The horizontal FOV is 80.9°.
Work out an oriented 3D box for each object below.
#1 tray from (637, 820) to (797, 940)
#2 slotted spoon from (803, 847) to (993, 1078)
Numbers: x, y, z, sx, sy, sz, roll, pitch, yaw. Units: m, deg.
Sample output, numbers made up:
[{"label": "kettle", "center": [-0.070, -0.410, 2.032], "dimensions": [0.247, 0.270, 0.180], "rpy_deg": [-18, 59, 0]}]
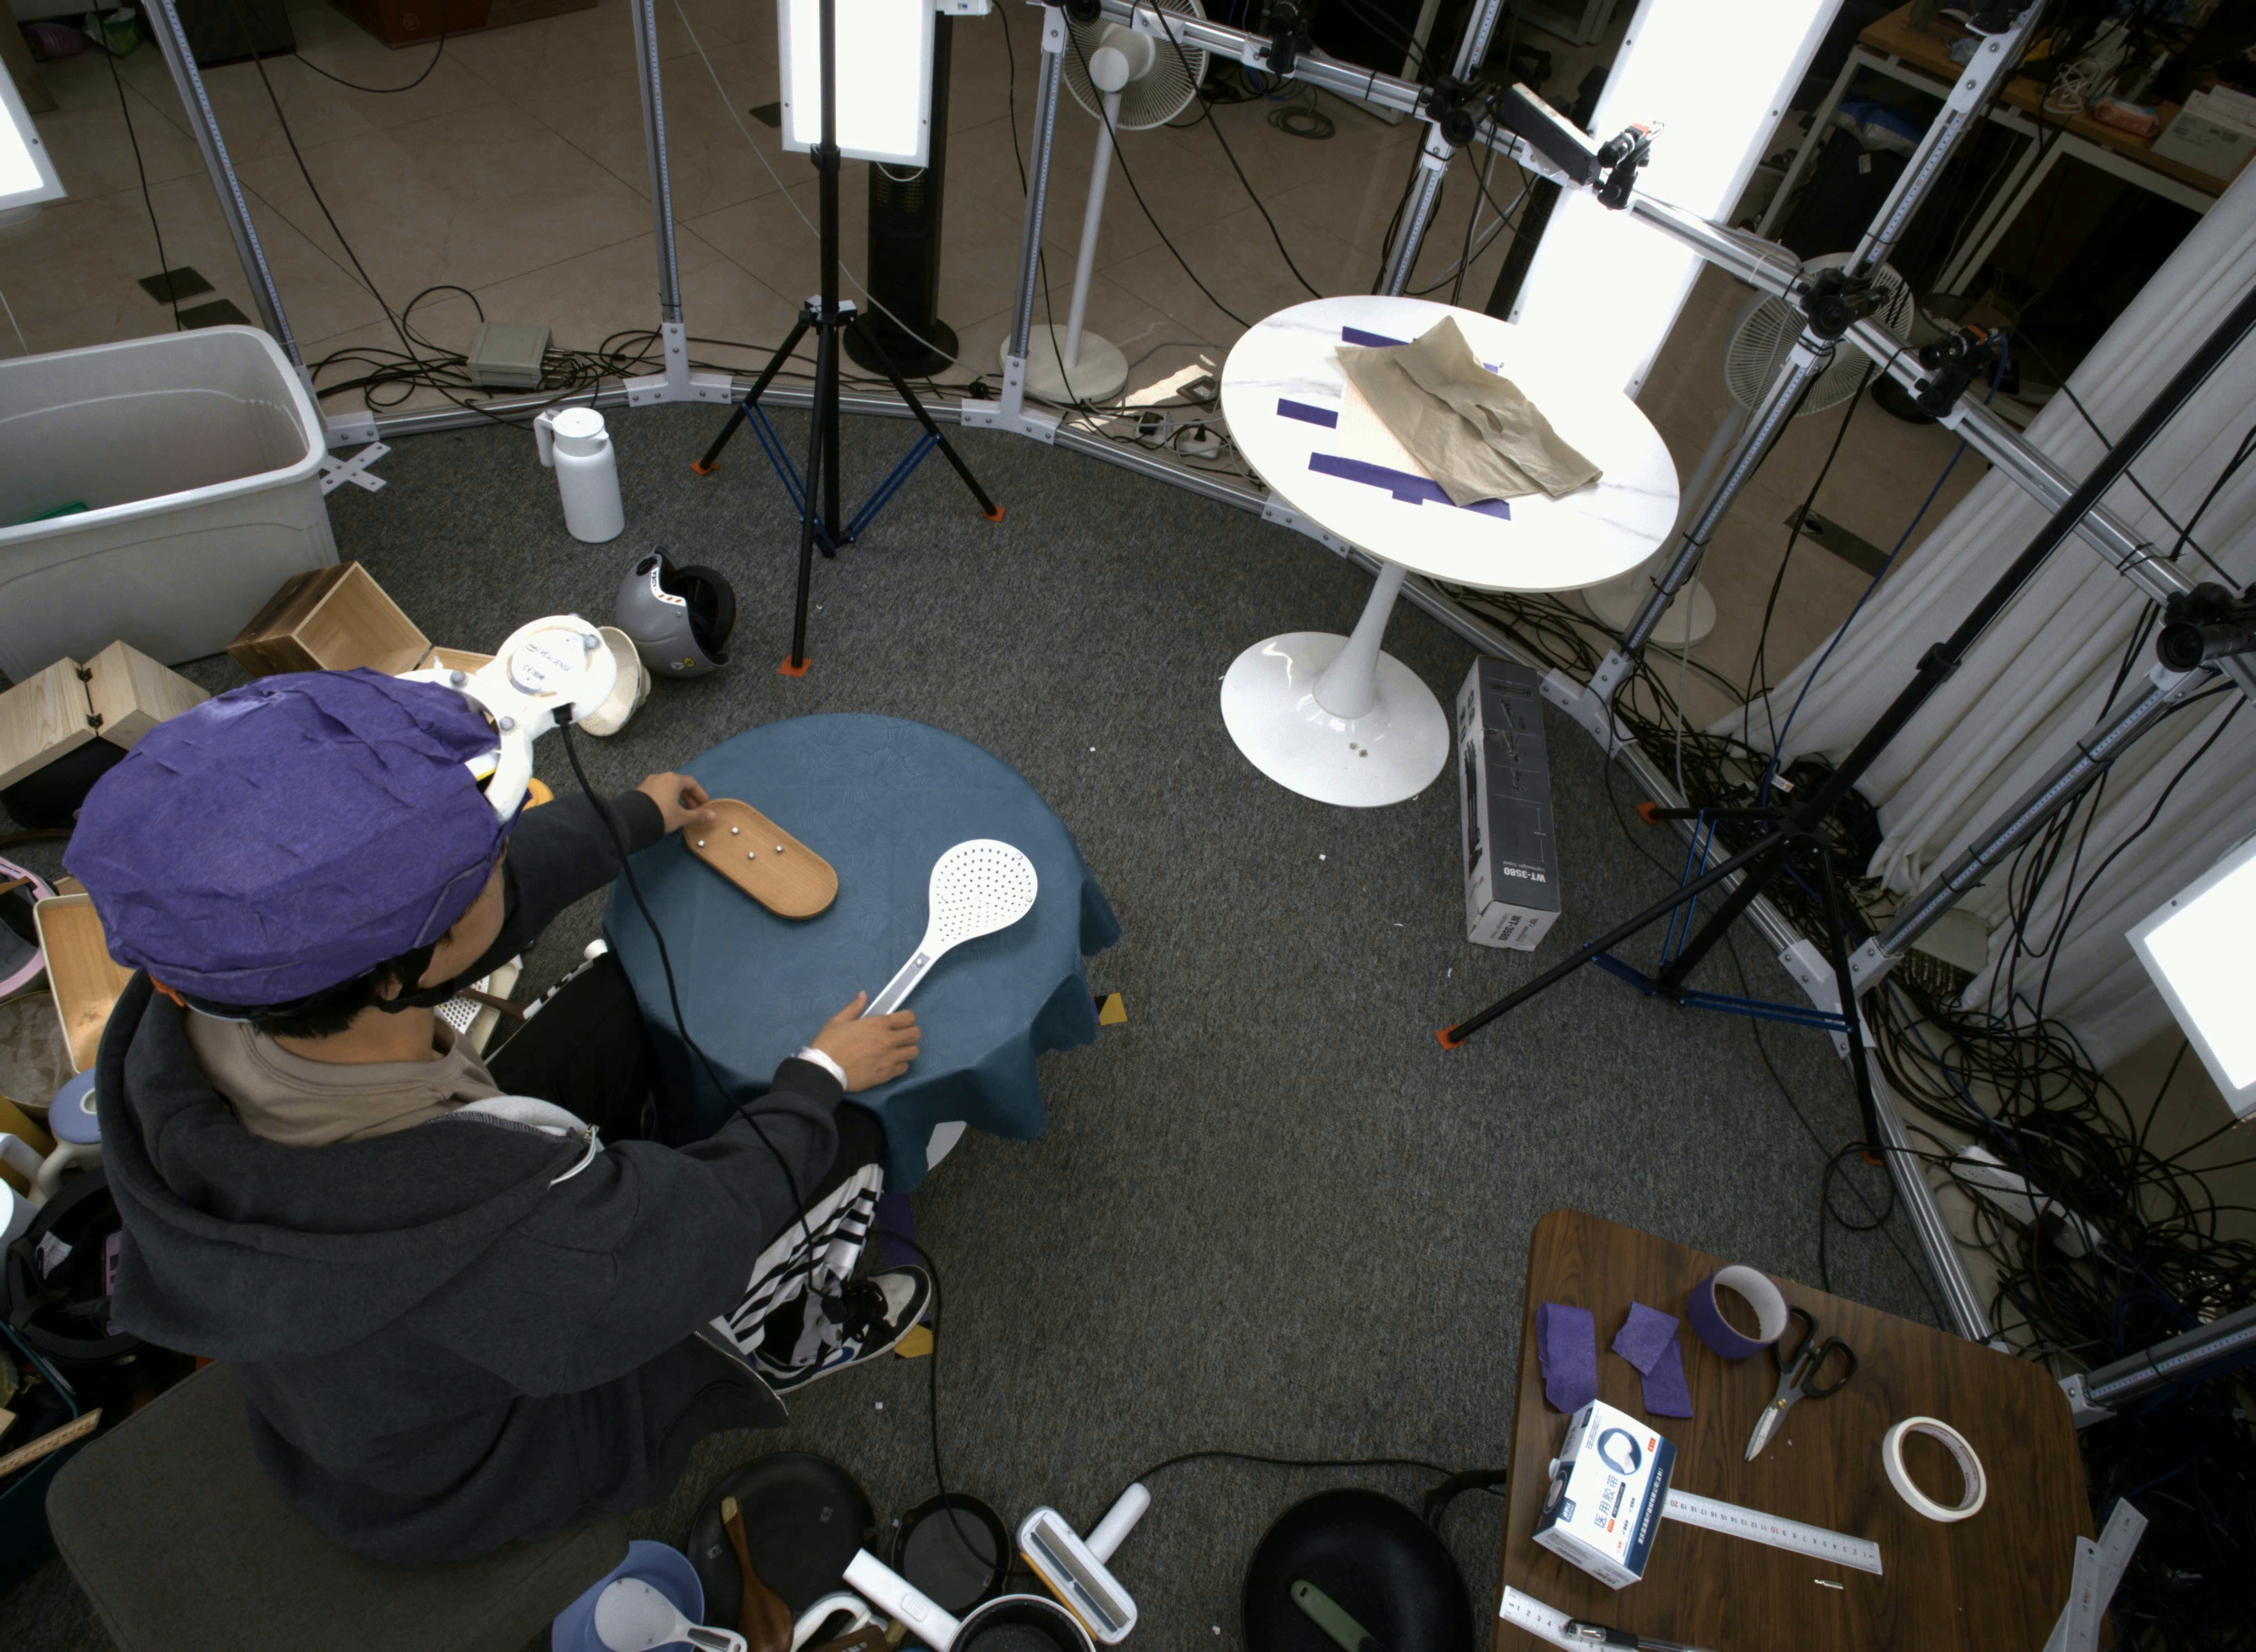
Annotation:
[{"label": "tray", "center": [-0.525, 0.066, 1.643], "dimensions": [0.227, 0.021, 0.101], "rpy_deg": [31, 54, 8]}, {"label": "slotted spoon", "center": [-0.290, 0.164, 1.611], "dimensions": [0.133, 0.047, 0.348], "rpy_deg": [27, 53, 9]}]
